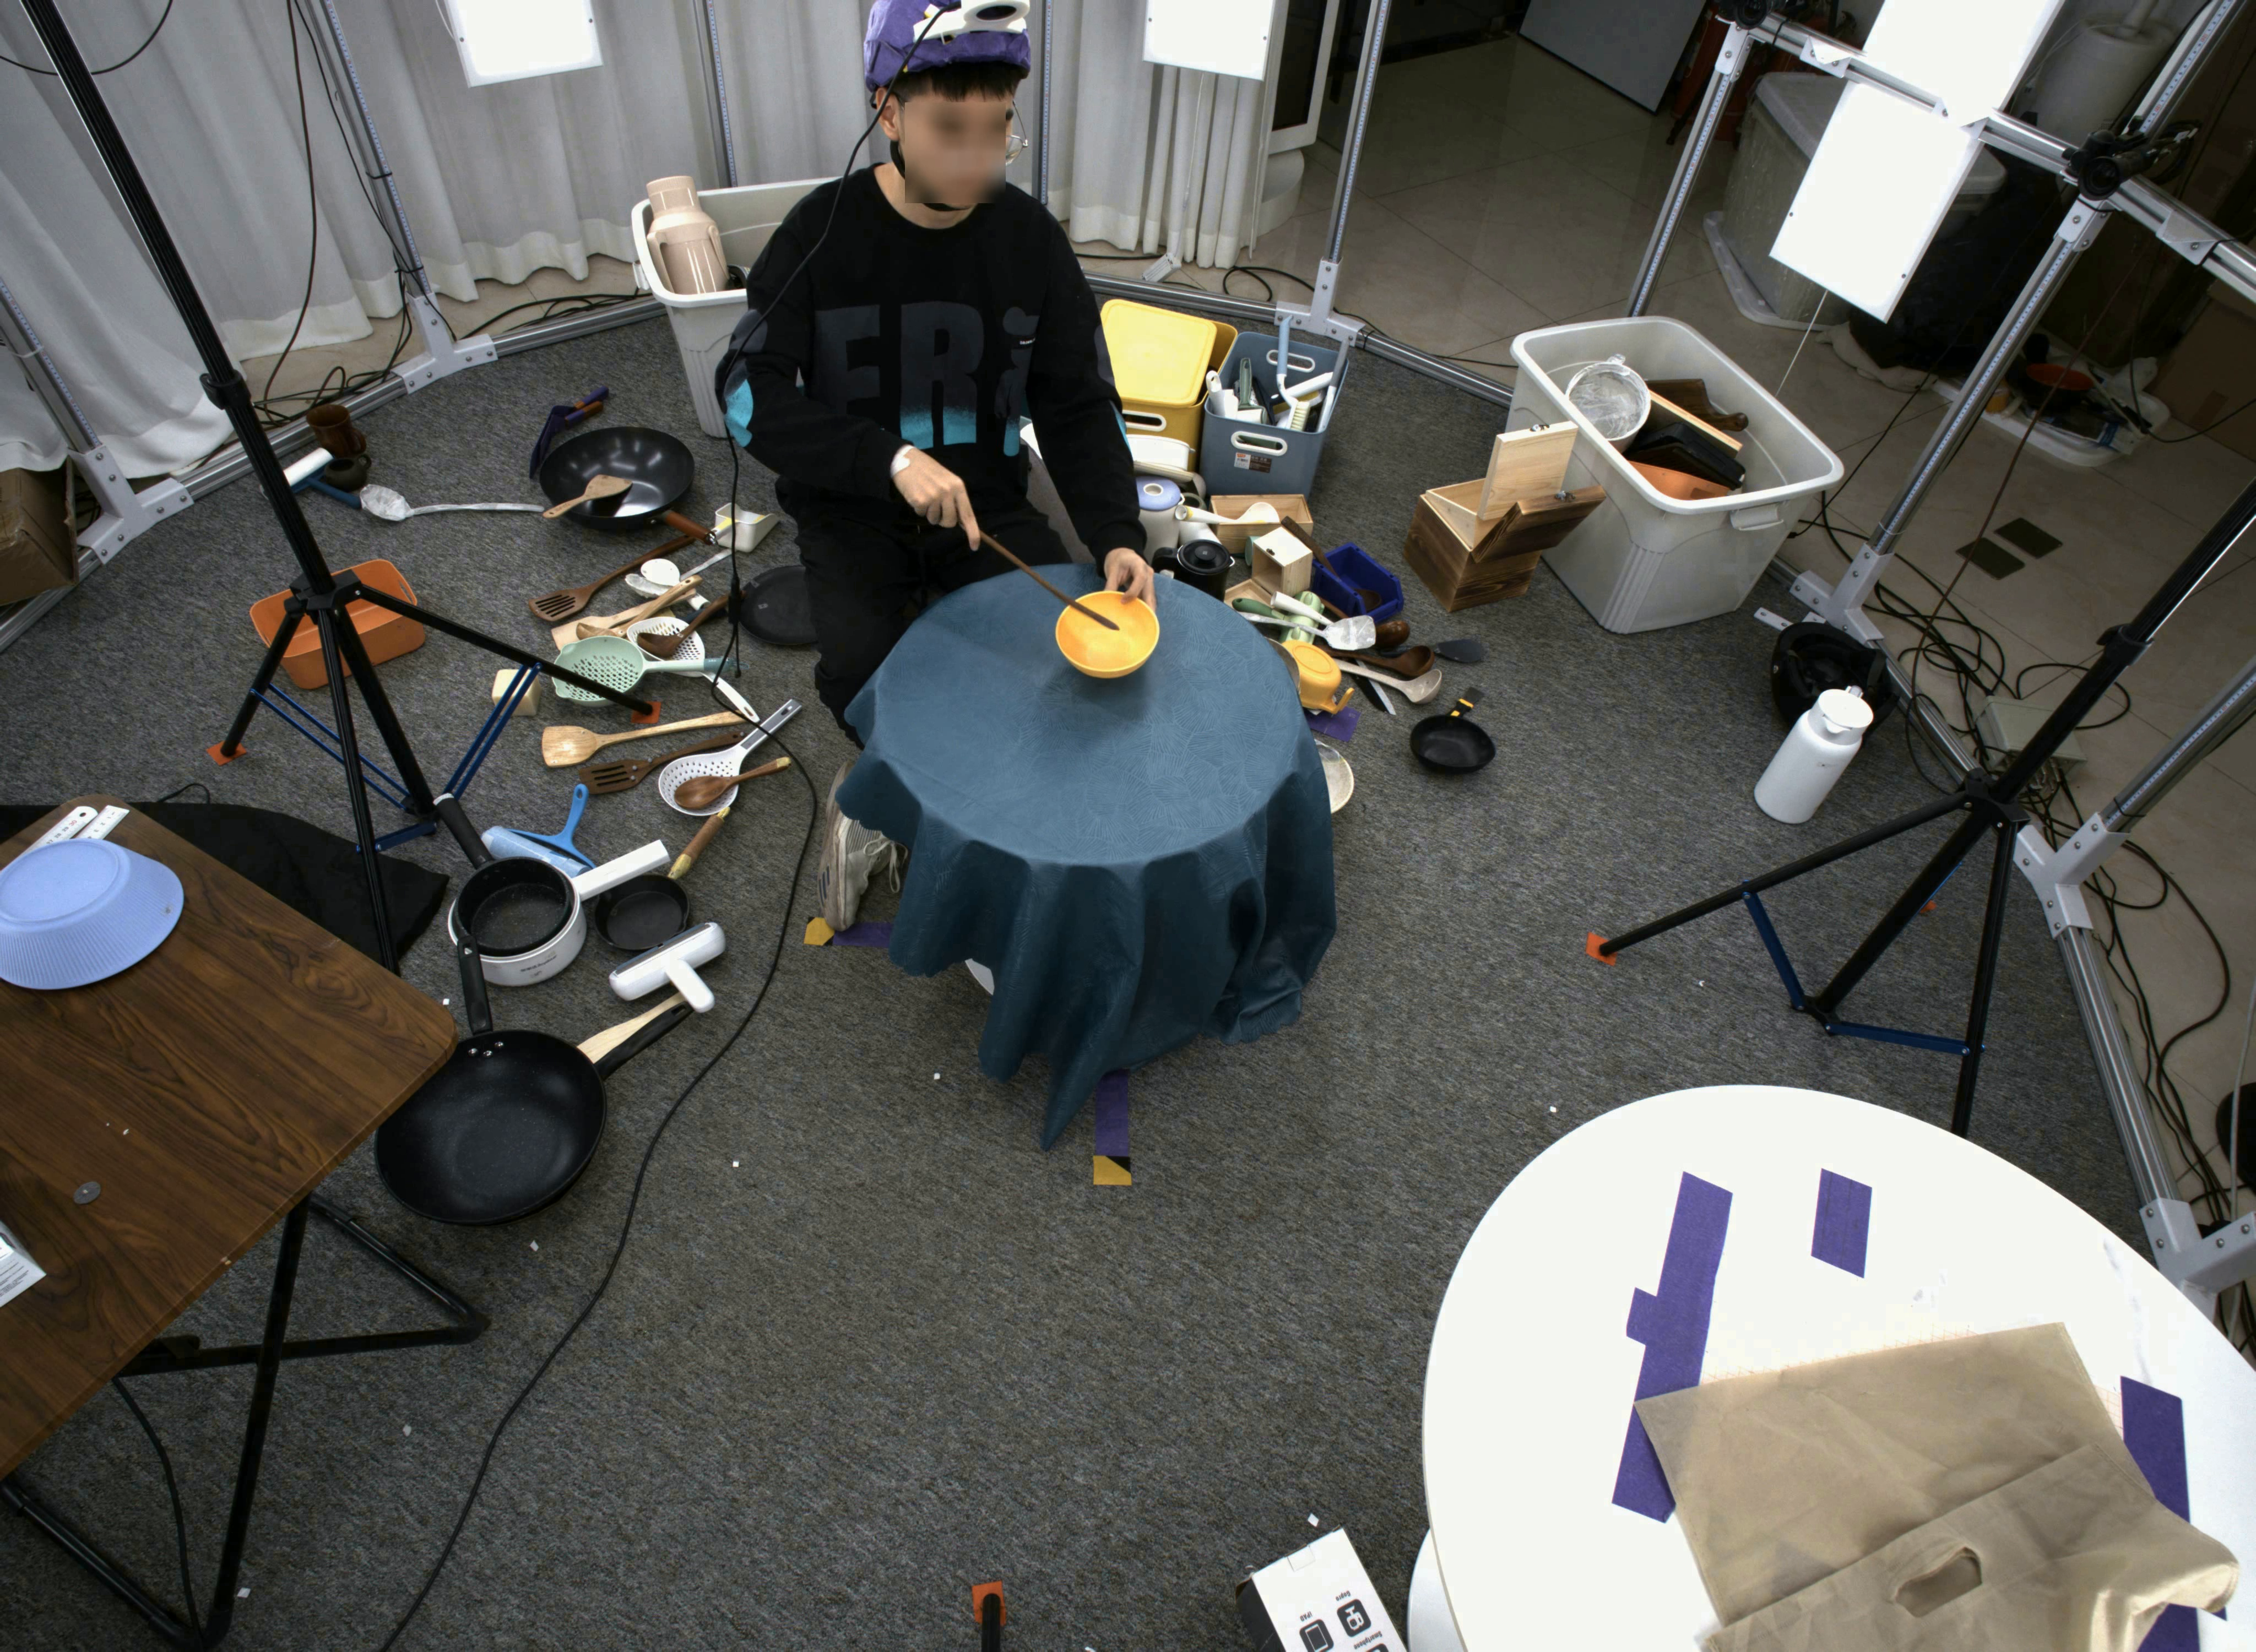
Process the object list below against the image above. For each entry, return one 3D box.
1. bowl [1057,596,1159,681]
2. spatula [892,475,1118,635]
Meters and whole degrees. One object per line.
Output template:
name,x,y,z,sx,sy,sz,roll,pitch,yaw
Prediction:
bowl,-0.029,-0.257,1.842,0.145,0.059,0.149,0,55,0
spatula,-0.171,-0.377,1.789,0.387,0.015,0.096,37,14,7
